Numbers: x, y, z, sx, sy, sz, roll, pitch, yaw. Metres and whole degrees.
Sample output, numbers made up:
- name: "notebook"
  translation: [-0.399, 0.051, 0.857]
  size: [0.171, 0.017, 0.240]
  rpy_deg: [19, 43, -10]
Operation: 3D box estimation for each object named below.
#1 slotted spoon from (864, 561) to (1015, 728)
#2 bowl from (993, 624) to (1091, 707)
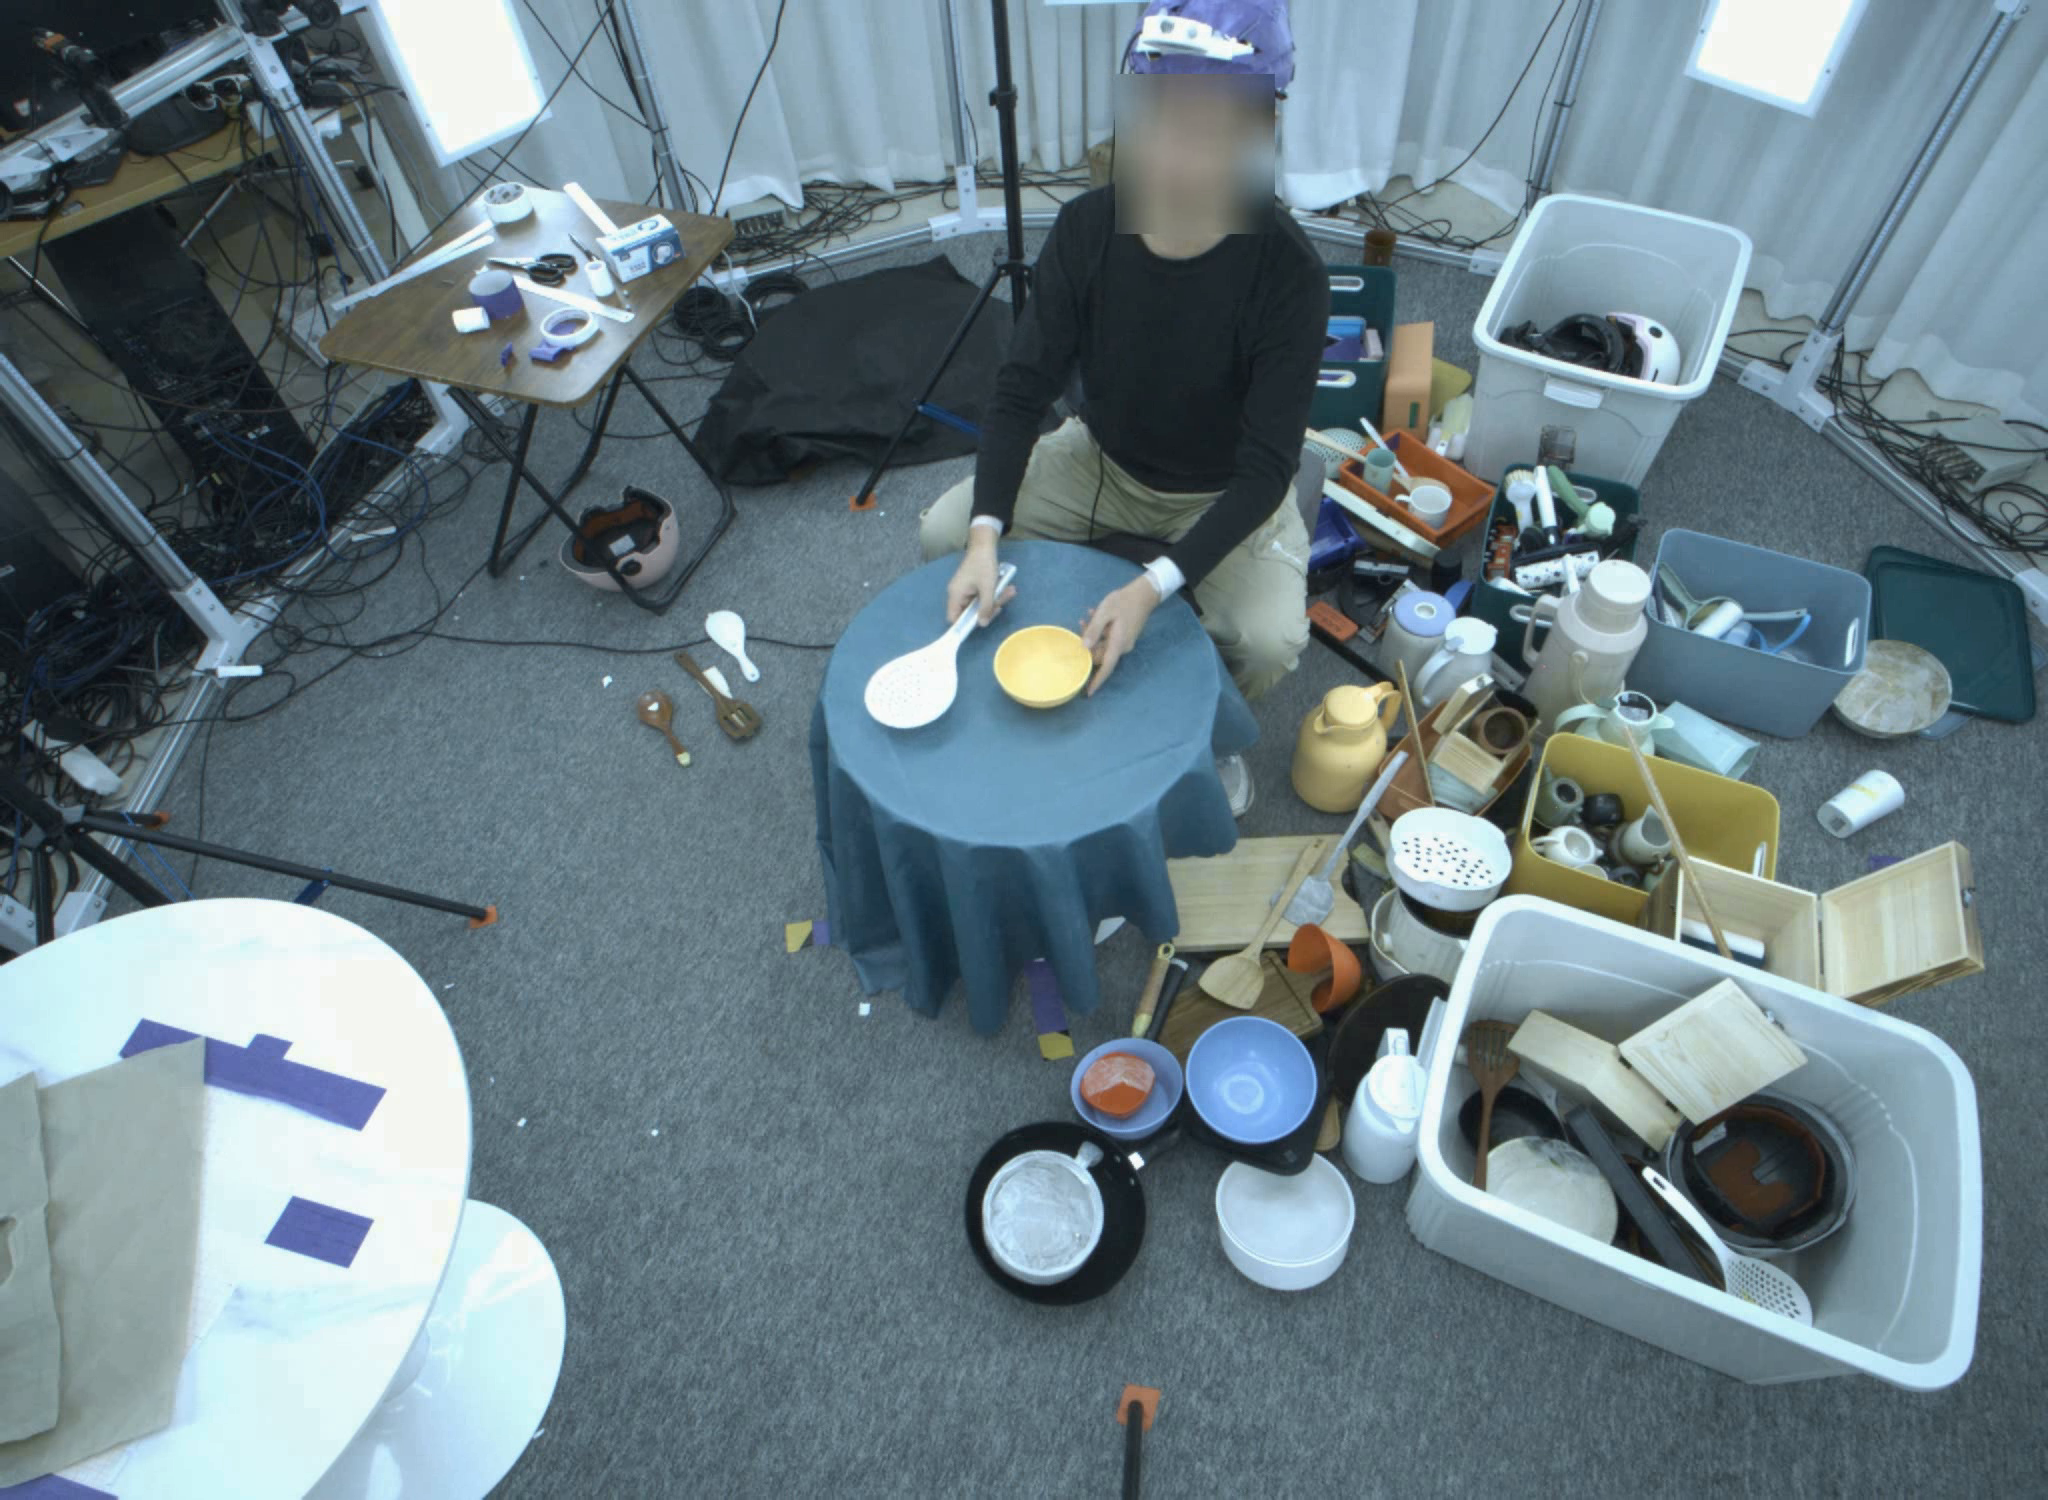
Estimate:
- name: "slotted spoon"
  translation: [-0.114, -0.164, 1.860]
  size: [0.134, 0.046, 0.350]
  rpy_deg: [22, 66, 23]
- name: "bowl"
  translation: [0.028, -0.114, 1.833]
  size: [0.145, 0.061, 0.144]
  rpy_deg: [0, 56, 1]
